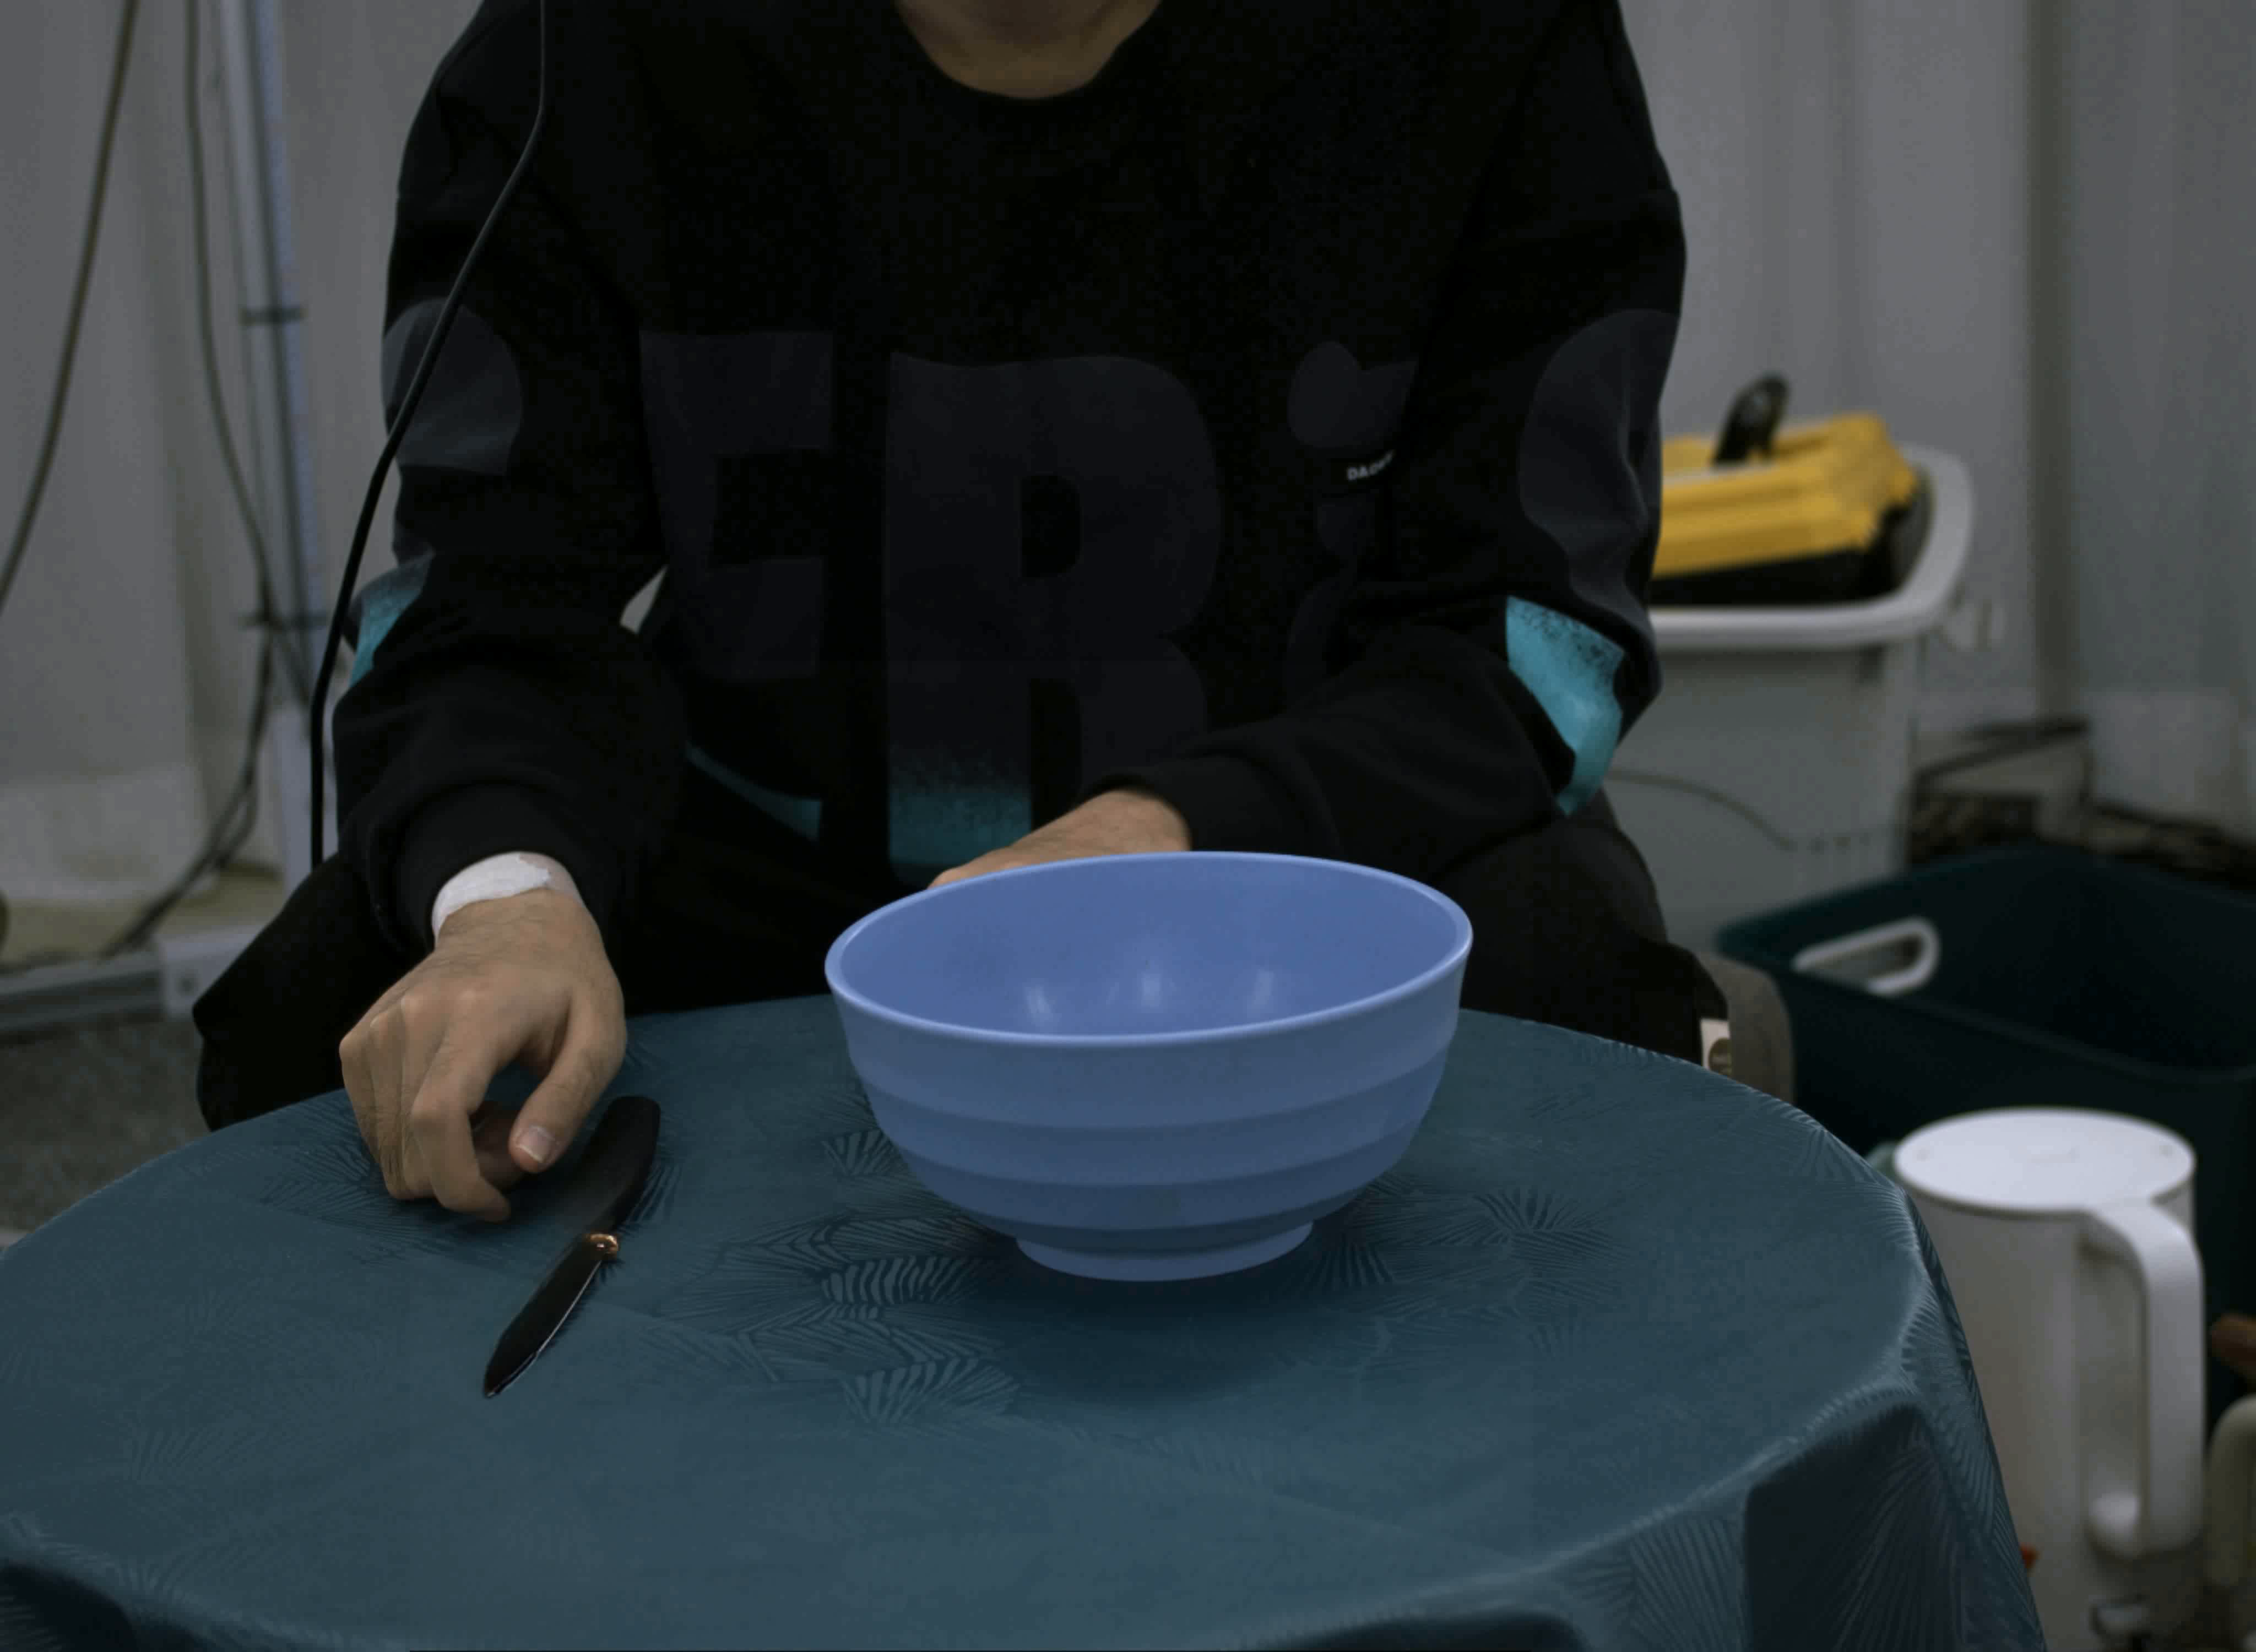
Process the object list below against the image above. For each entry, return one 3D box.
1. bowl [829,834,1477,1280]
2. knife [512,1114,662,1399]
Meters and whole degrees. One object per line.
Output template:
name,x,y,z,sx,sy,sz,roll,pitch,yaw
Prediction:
bowl,0.009,0.077,1.663,0.196,0.095,0.198,-3,18,1
knife,-0.168,0.130,1.670,0.026,0.017,0.227,4,17,3
